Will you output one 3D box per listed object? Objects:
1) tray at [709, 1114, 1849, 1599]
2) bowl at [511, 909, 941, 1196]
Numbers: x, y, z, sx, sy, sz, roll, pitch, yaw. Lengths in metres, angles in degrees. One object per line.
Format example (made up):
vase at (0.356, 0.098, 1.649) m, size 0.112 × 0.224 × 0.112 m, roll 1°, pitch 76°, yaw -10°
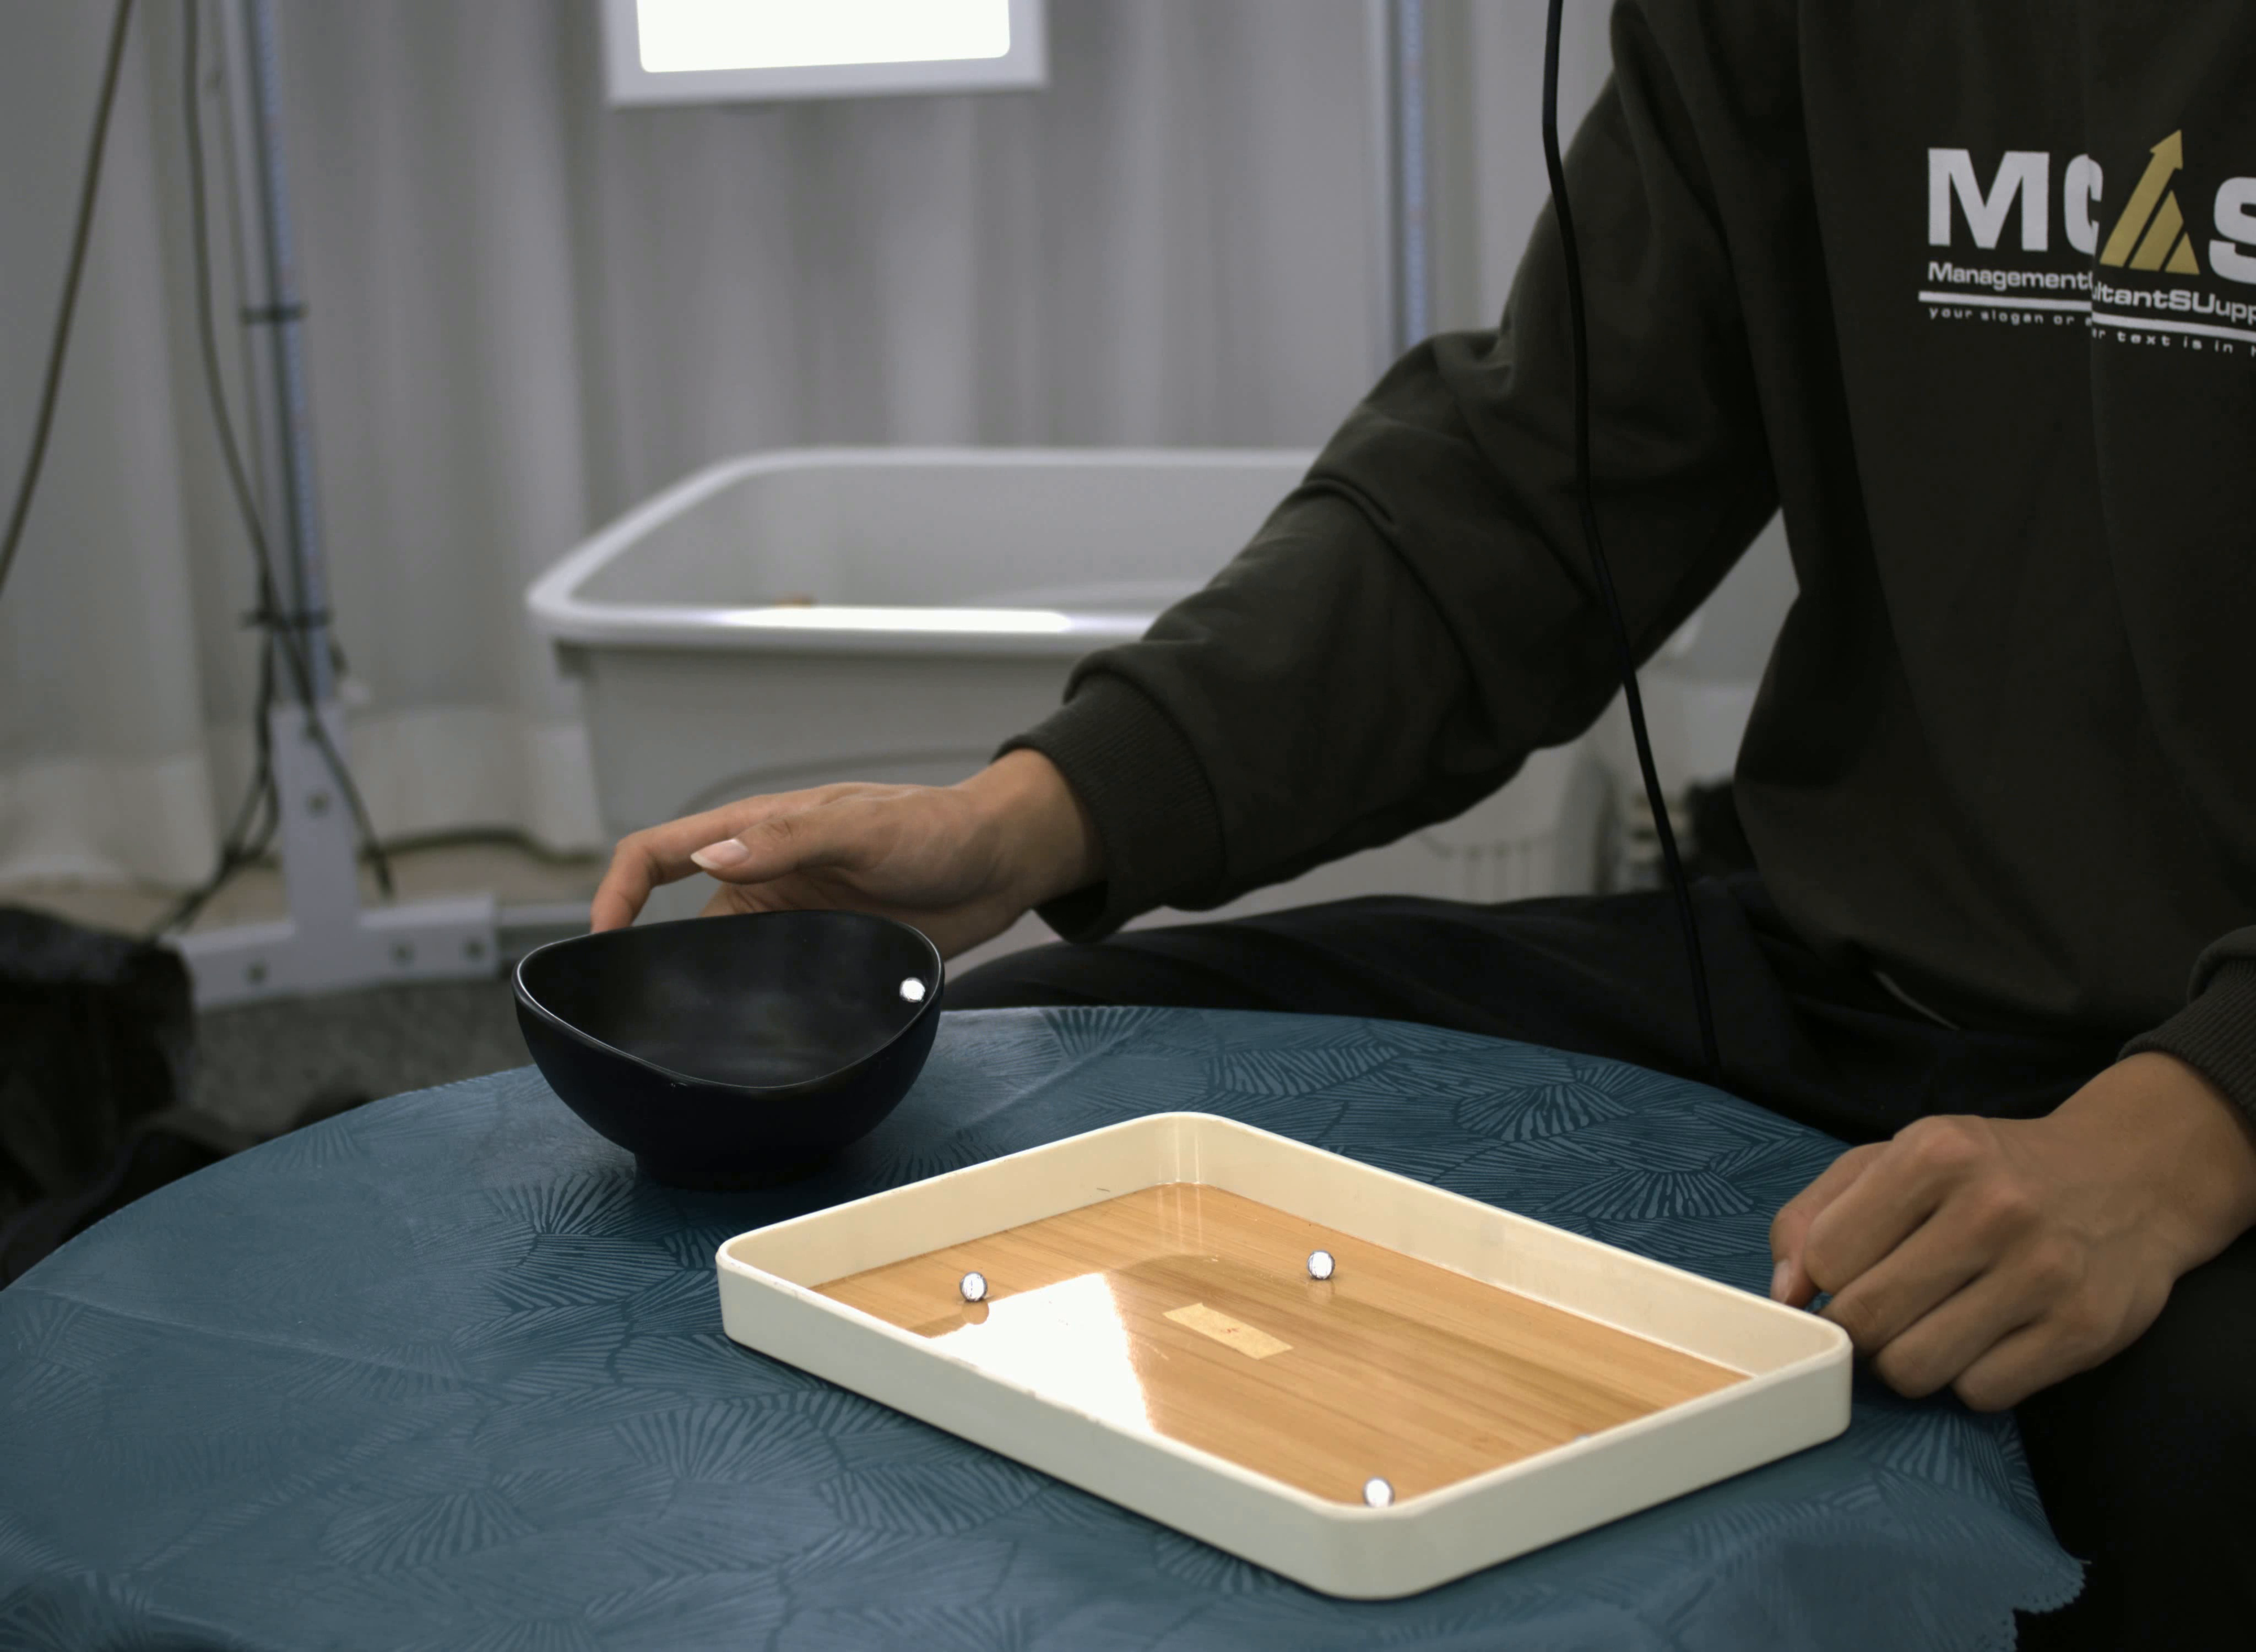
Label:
tray at (0.037, 0.144, 1.550) m, size 0.191 × 0.027 × 0.302 m, roll -14°, pitch 18°, yaw -37°
bowl at (-0.126, 0.077, 1.761) m, size 0.137 × 0.066 × 0.172 m, roll -8°, pitch 17°, yaw -16°
